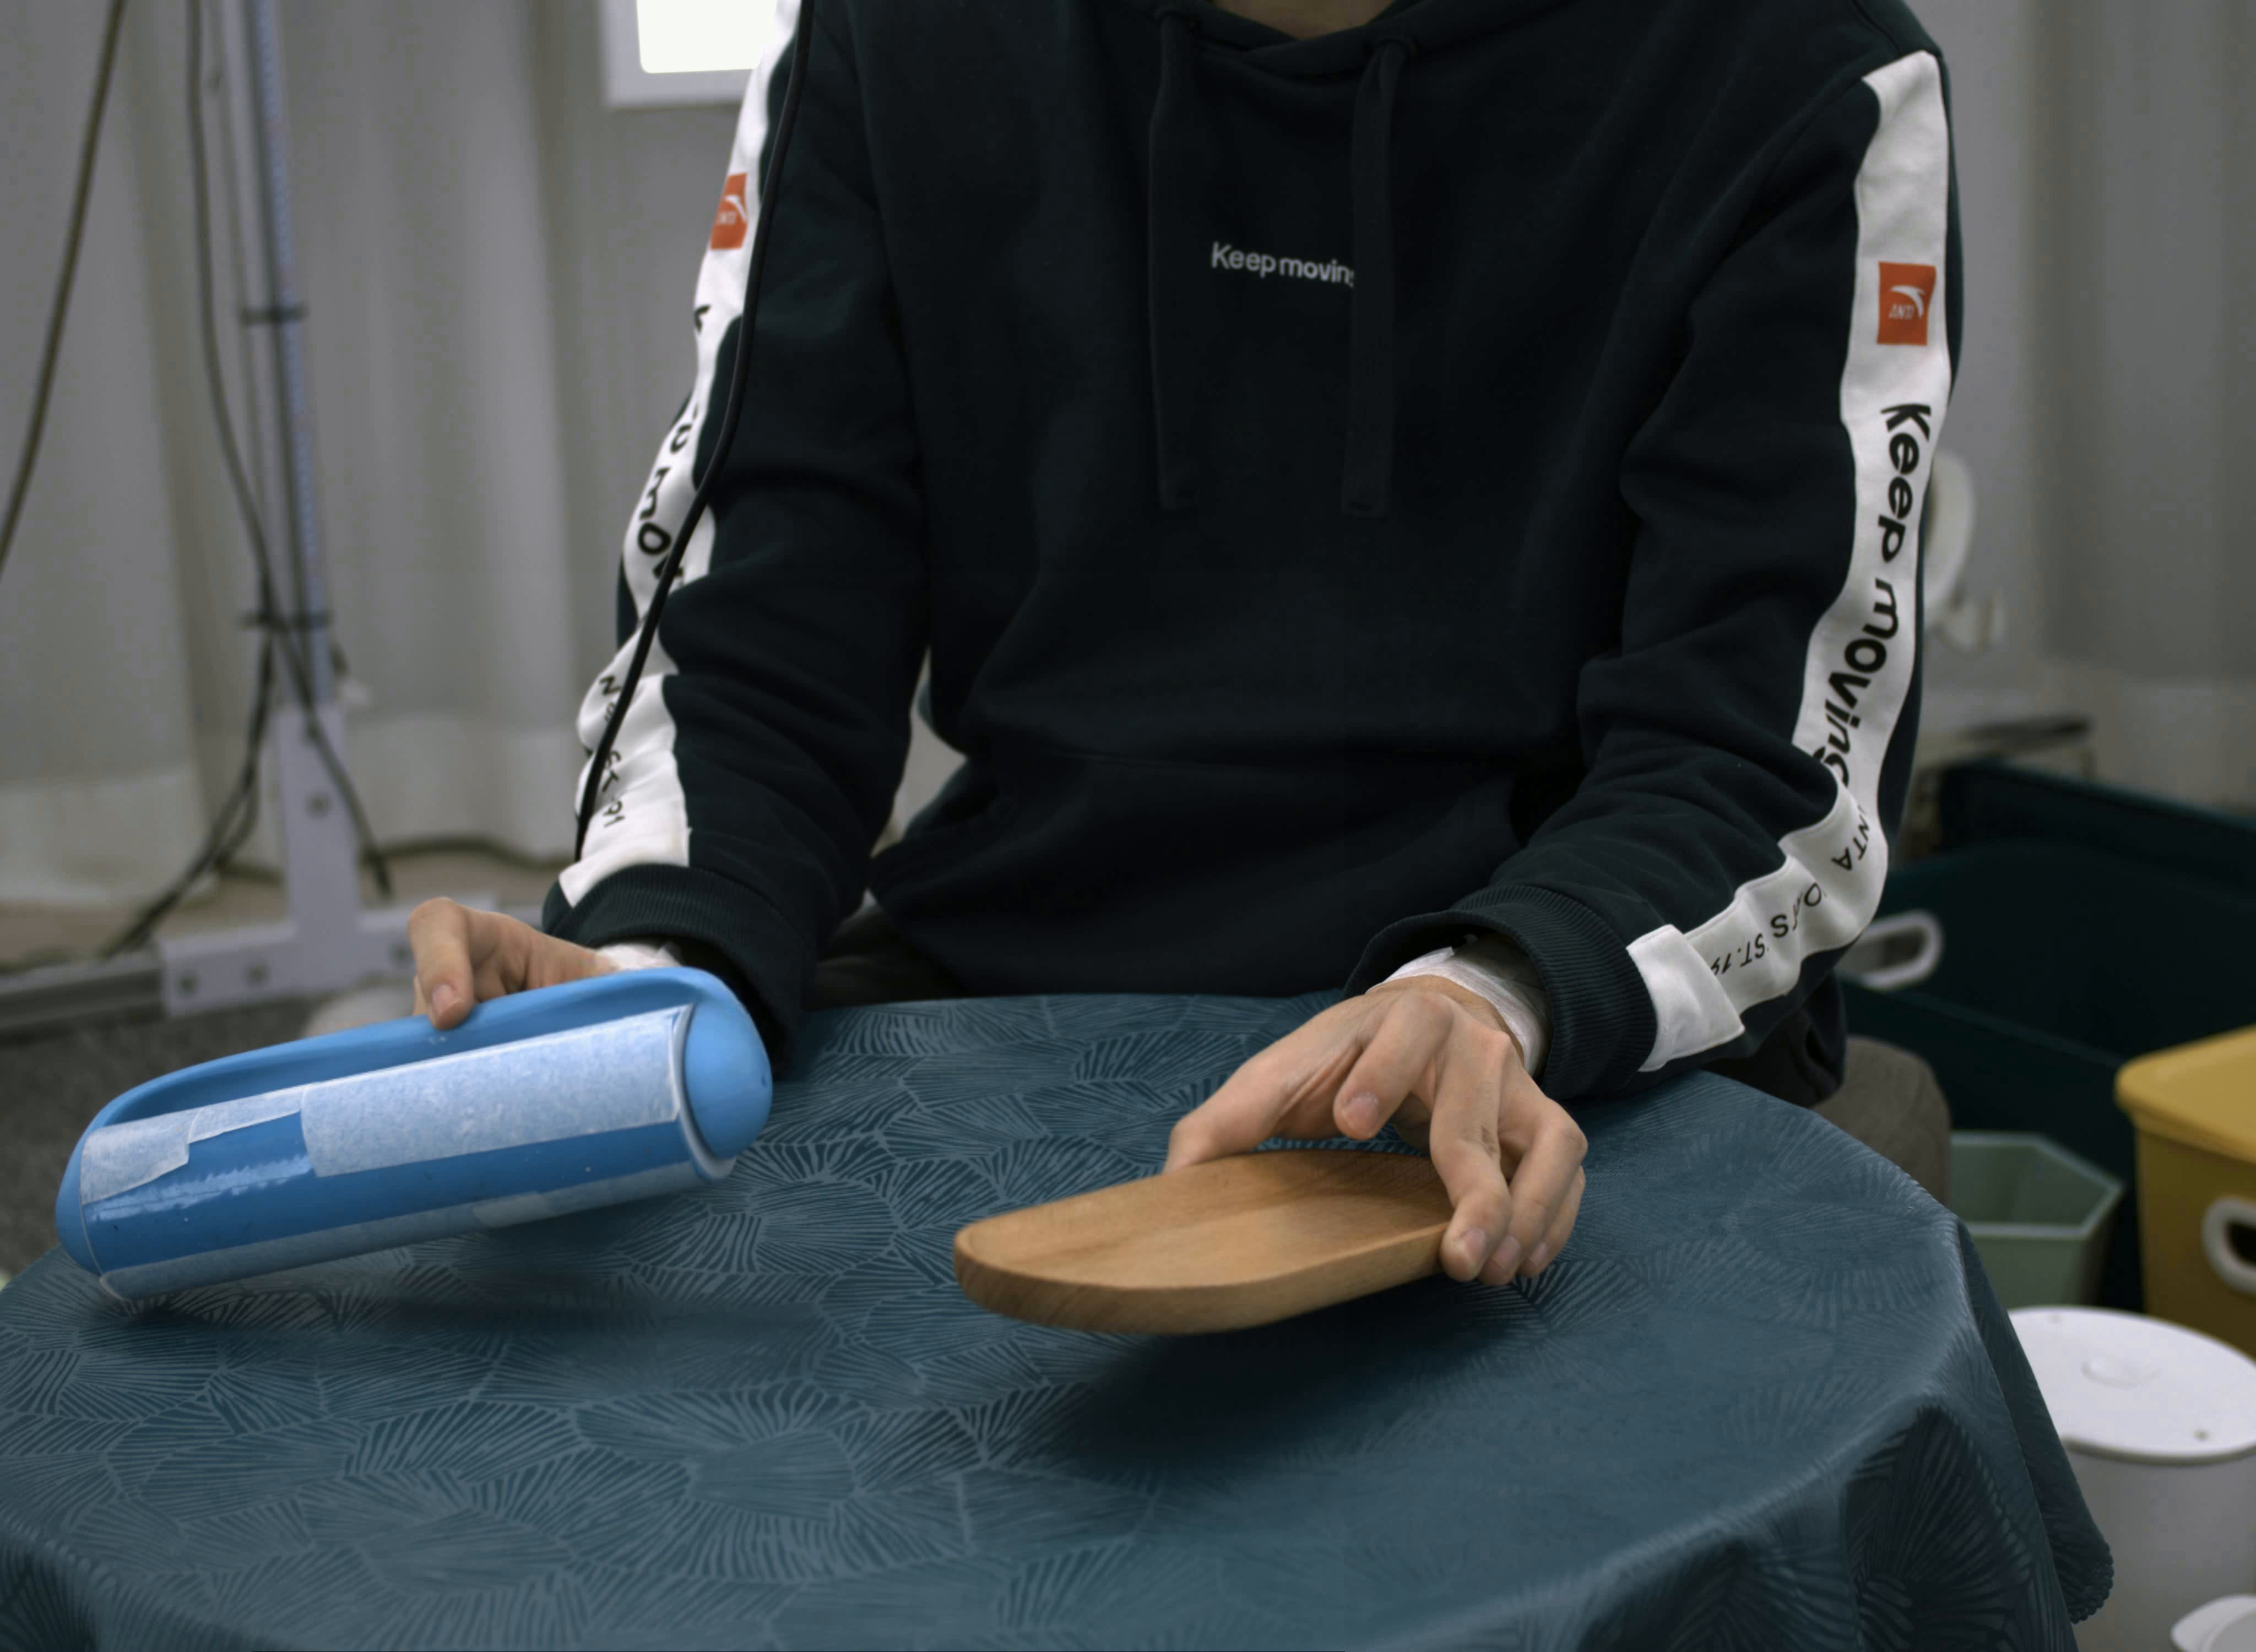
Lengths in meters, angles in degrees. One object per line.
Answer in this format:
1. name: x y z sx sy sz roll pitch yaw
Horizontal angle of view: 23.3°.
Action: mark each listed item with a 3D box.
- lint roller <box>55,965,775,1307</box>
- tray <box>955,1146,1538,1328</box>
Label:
1. lint roller: -0.204 0.088 1.685 0.228 0.068 0.180 -15 6 11
2. tray: 0.036 0.117 1.567 0.102 0.020 0.230 10 8 31
